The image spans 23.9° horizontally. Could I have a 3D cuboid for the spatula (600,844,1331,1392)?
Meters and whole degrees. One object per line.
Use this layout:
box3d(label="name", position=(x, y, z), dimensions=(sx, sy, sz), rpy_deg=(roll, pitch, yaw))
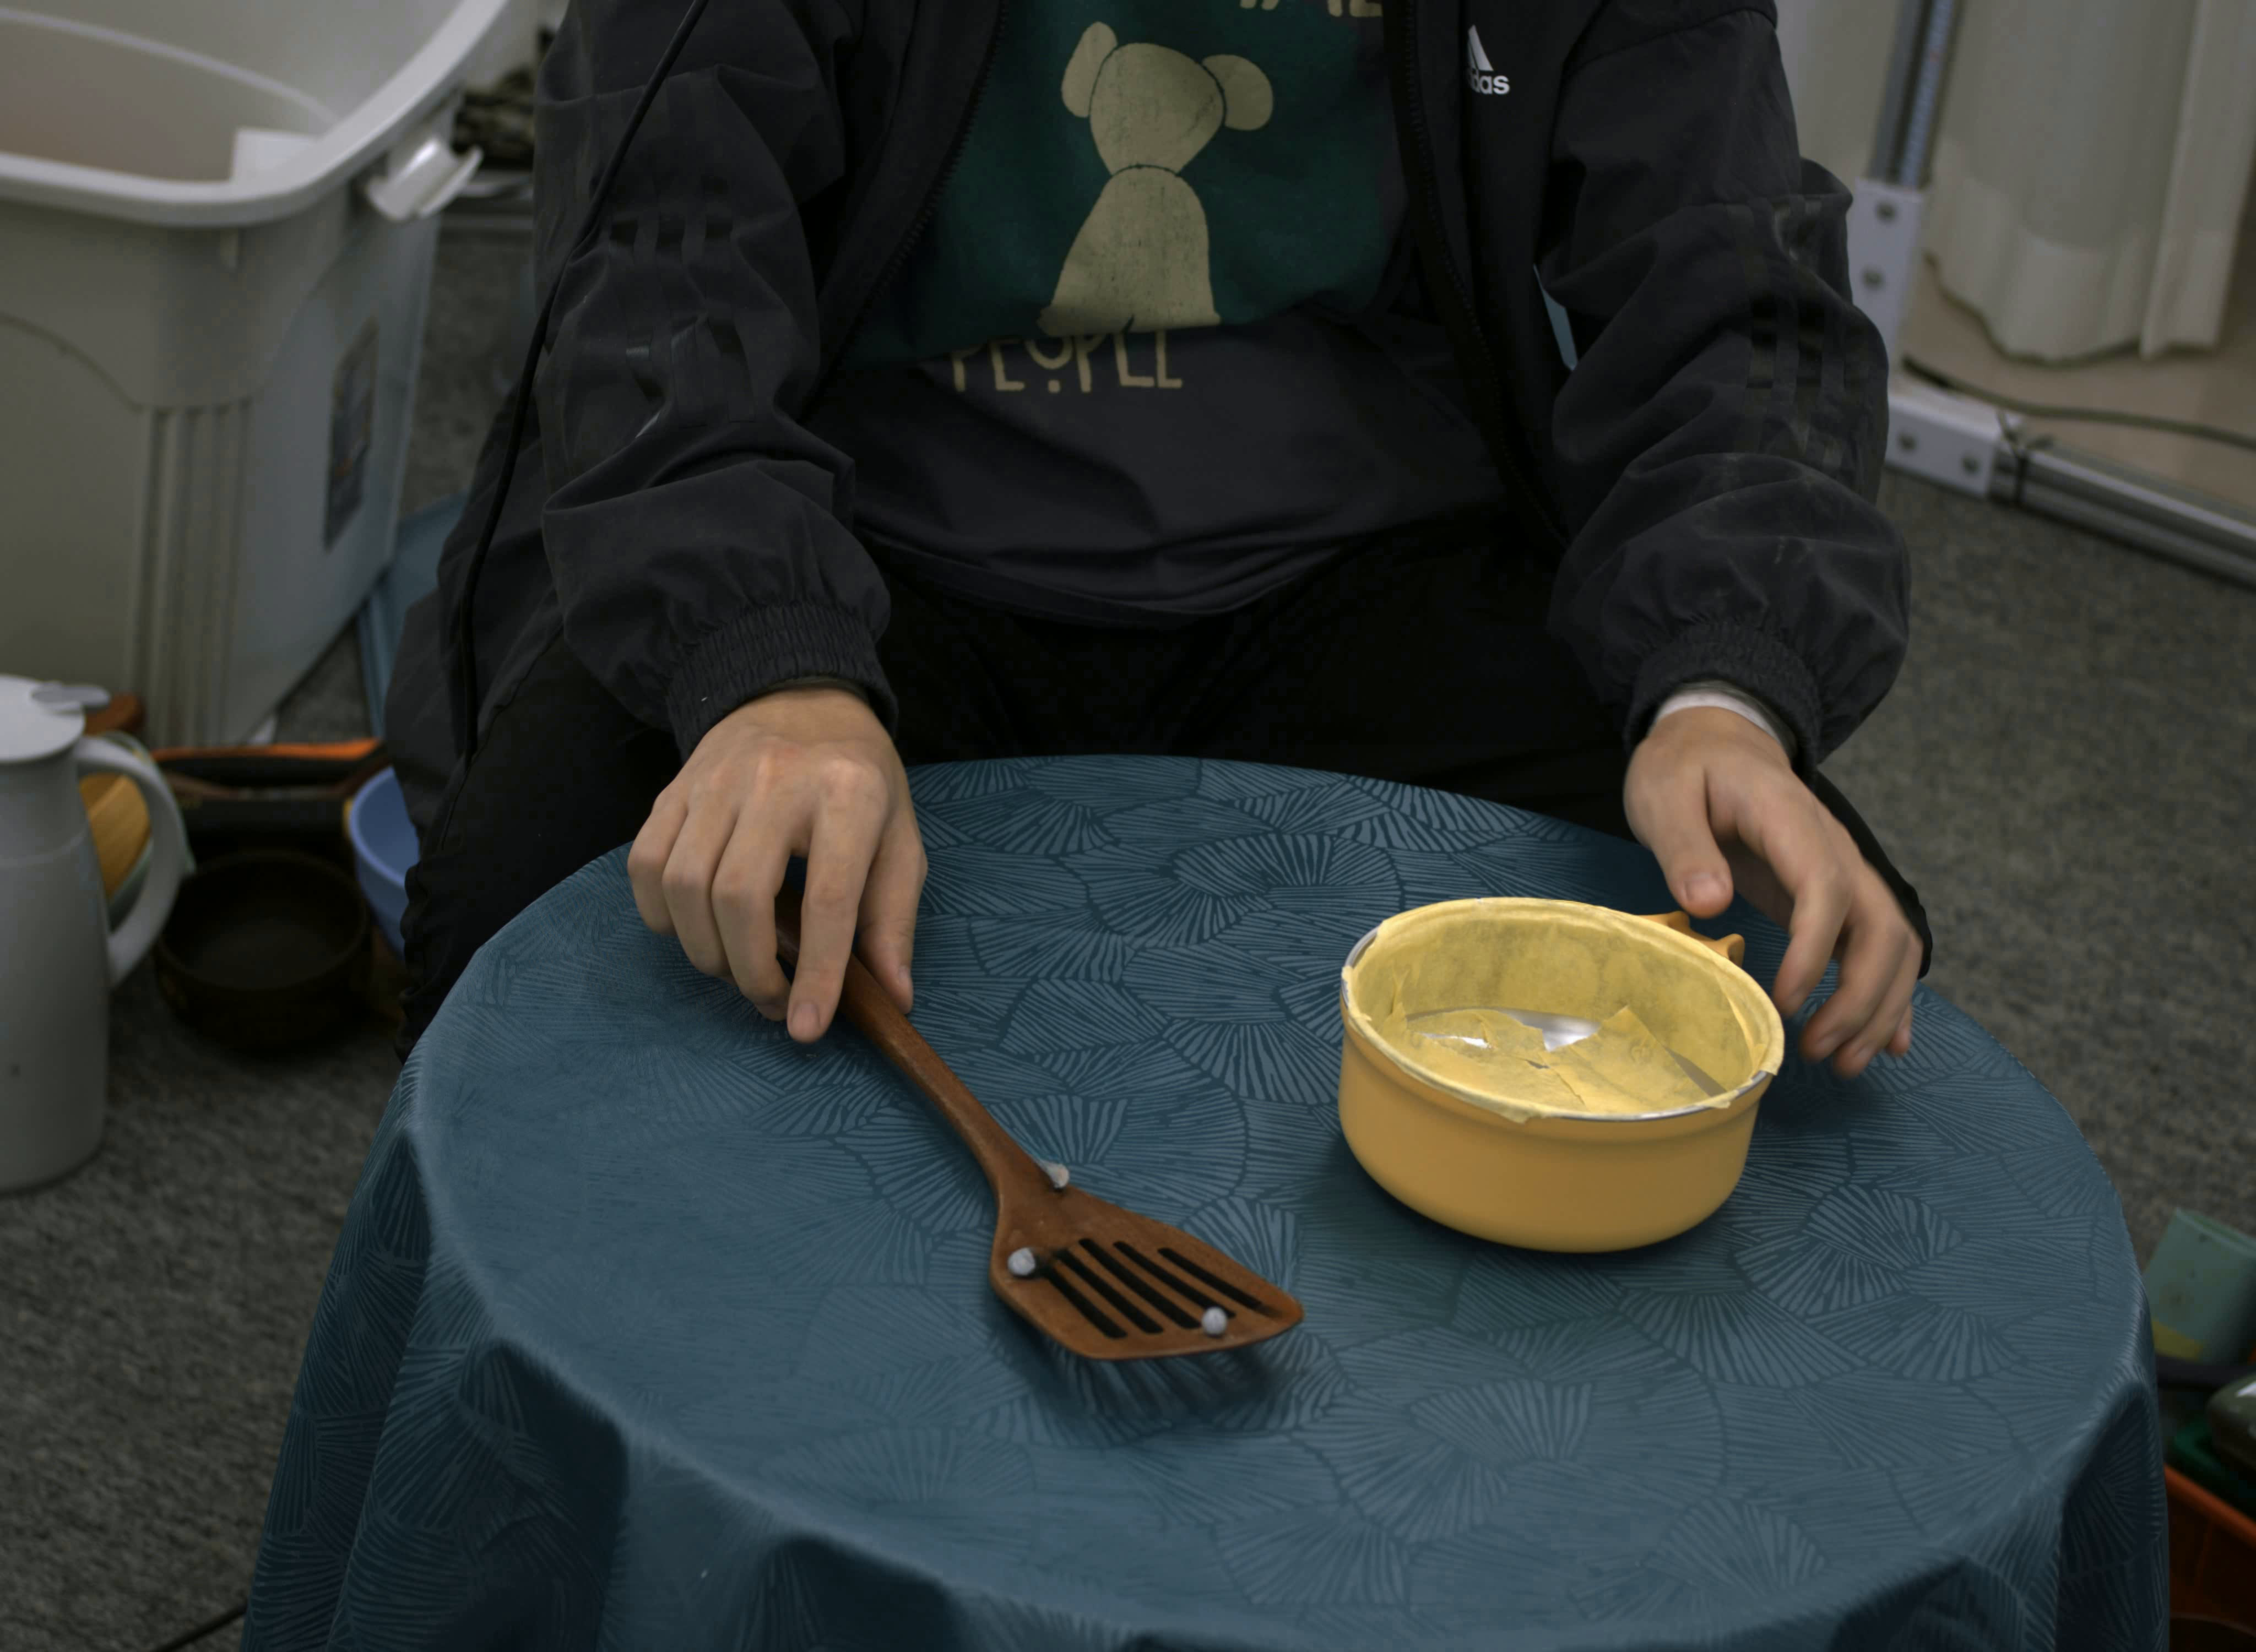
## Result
box3d(label="spatula", position=(-0.075, 0.099, 1.828), dimensions=(0.085, 0.024, 0.390), rpy_deg=(-5, 30, -40))

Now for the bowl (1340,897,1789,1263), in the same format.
box3d(label="bowl", position=(0.155, 0.087, 1.843), dimensions=(0.154, 0.074, 0.179), rpy_deg=(21, 31, 26))
